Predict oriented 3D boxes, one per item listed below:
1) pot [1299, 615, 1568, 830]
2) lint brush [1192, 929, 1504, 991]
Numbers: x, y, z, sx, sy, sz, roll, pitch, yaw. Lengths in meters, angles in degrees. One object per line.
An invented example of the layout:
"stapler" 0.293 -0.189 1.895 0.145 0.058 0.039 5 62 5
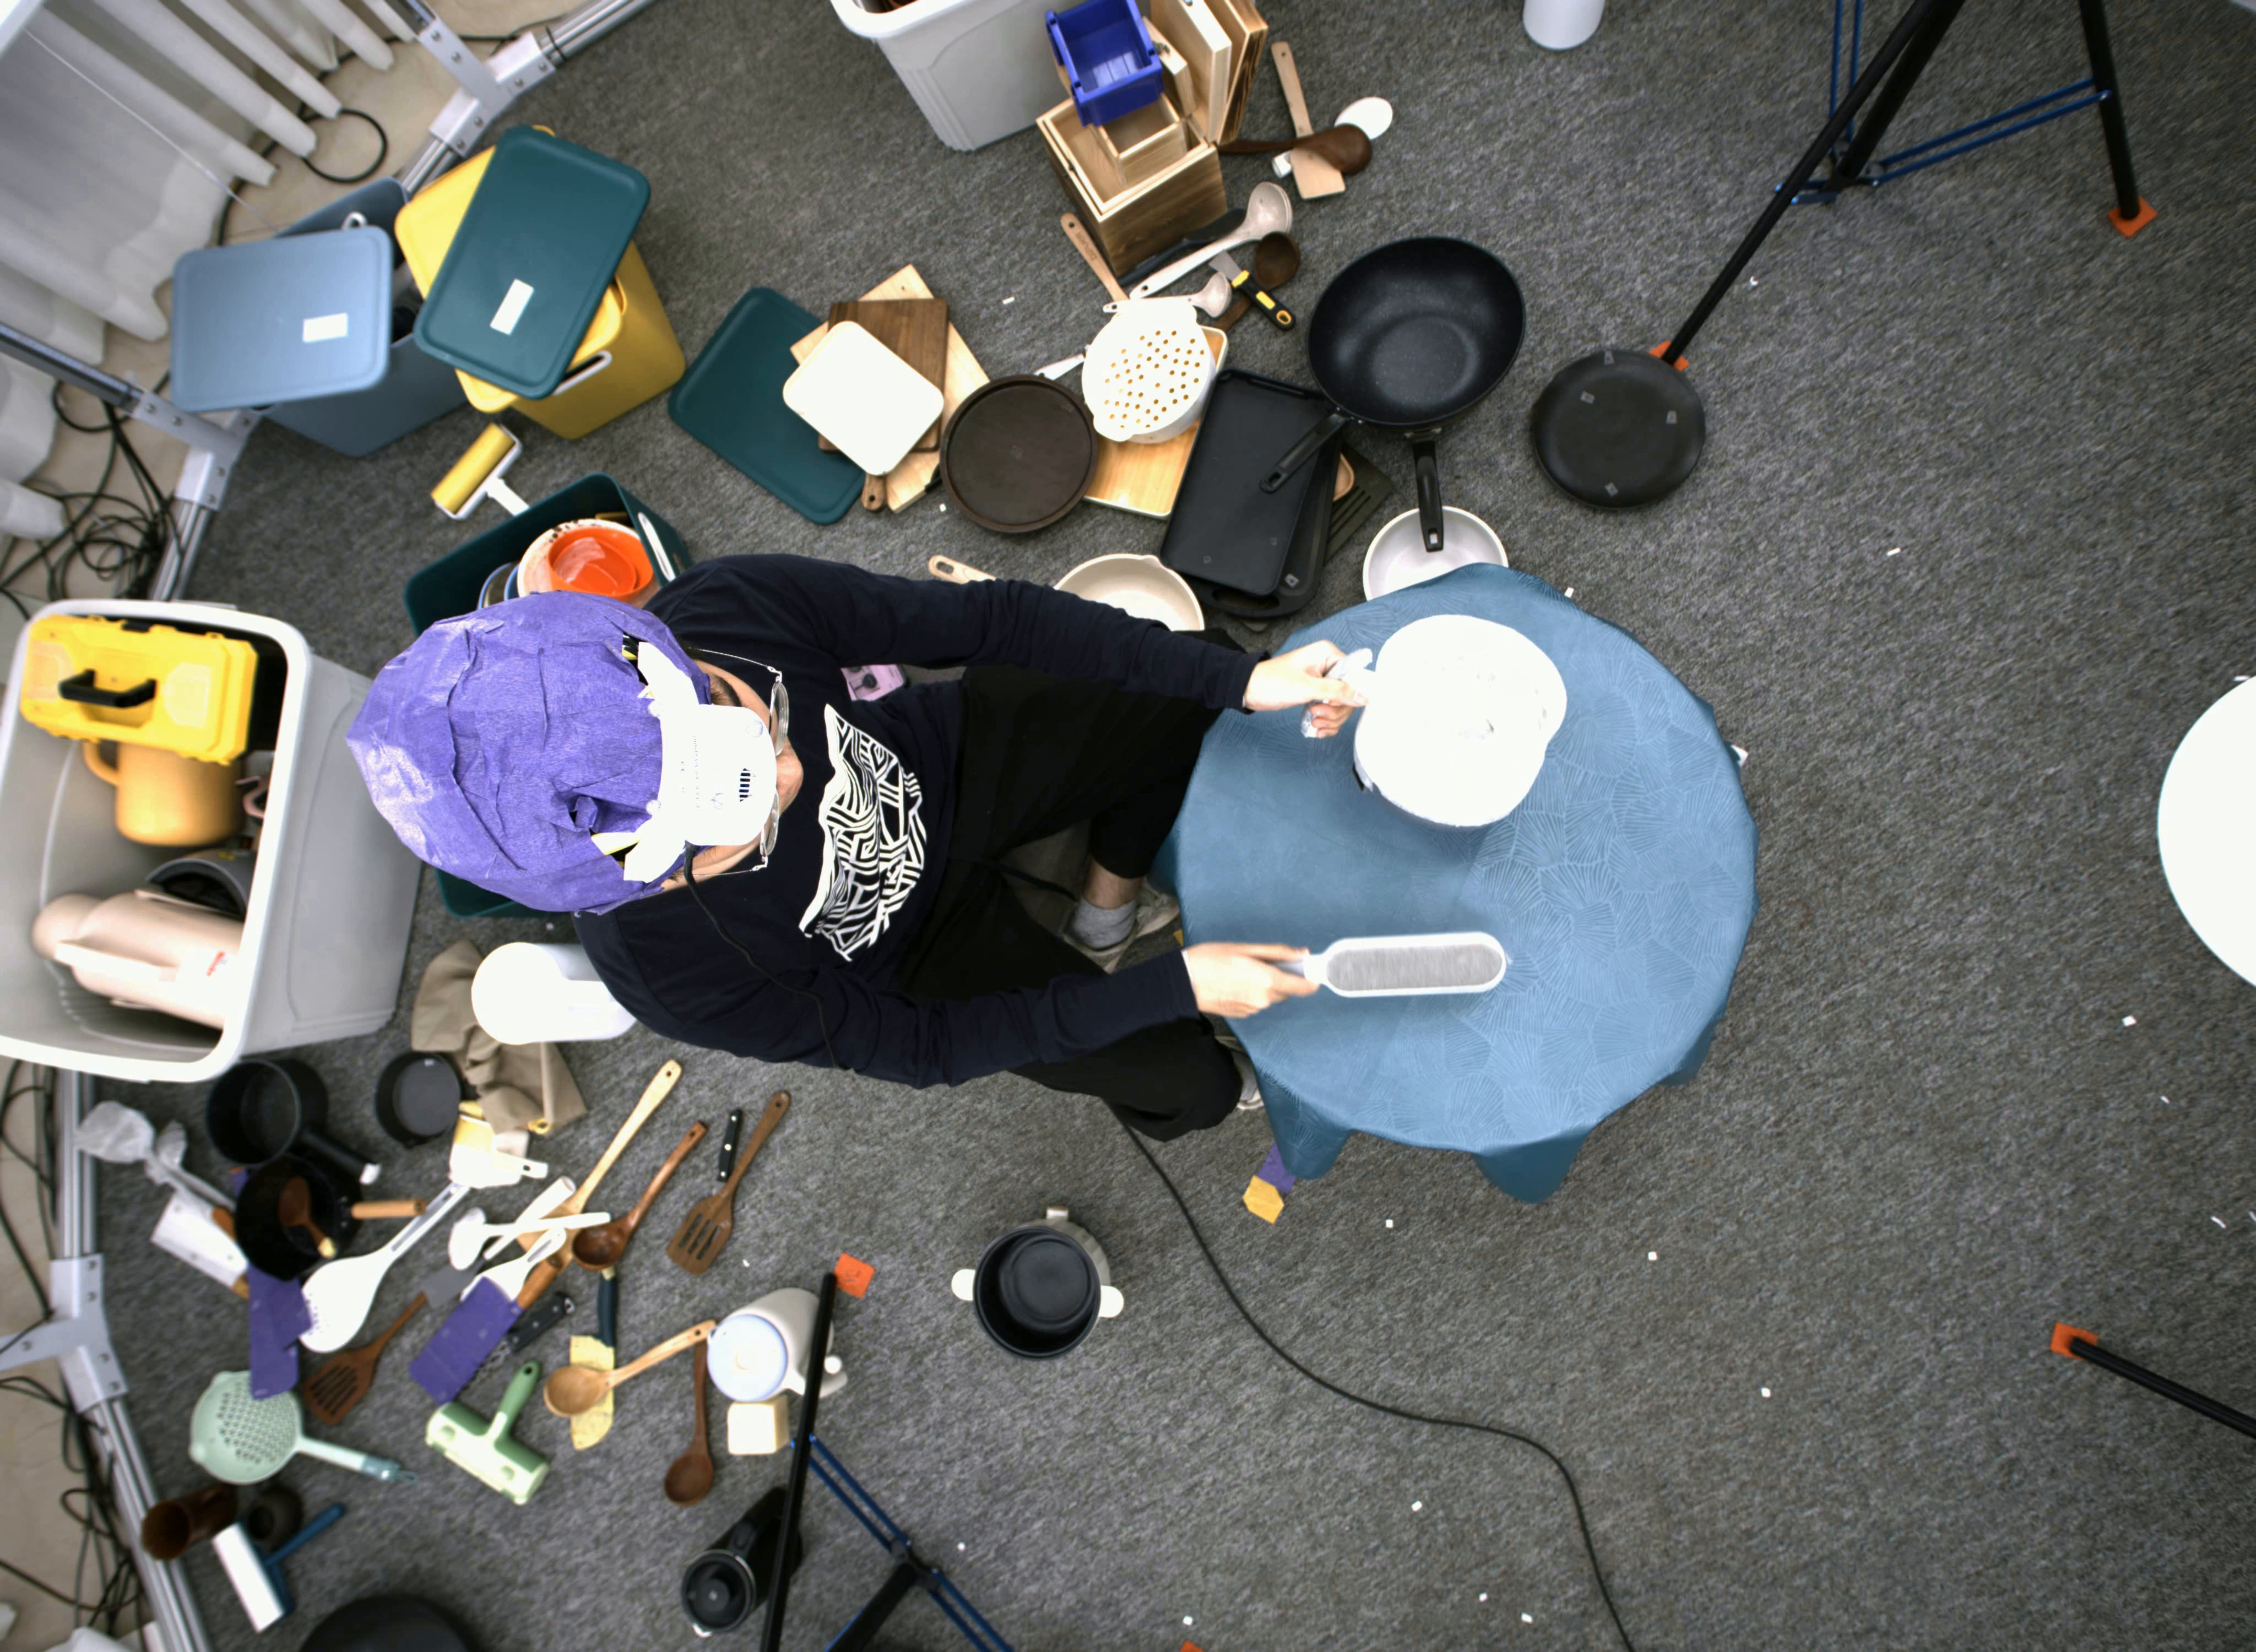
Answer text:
"pot" 0.283 -0.103 1.309 0.234 0.140 0.174 16 50 6
"lint brush" 0.218 0.134 1.374 0.310 0.020 0.061 -4 111 8
